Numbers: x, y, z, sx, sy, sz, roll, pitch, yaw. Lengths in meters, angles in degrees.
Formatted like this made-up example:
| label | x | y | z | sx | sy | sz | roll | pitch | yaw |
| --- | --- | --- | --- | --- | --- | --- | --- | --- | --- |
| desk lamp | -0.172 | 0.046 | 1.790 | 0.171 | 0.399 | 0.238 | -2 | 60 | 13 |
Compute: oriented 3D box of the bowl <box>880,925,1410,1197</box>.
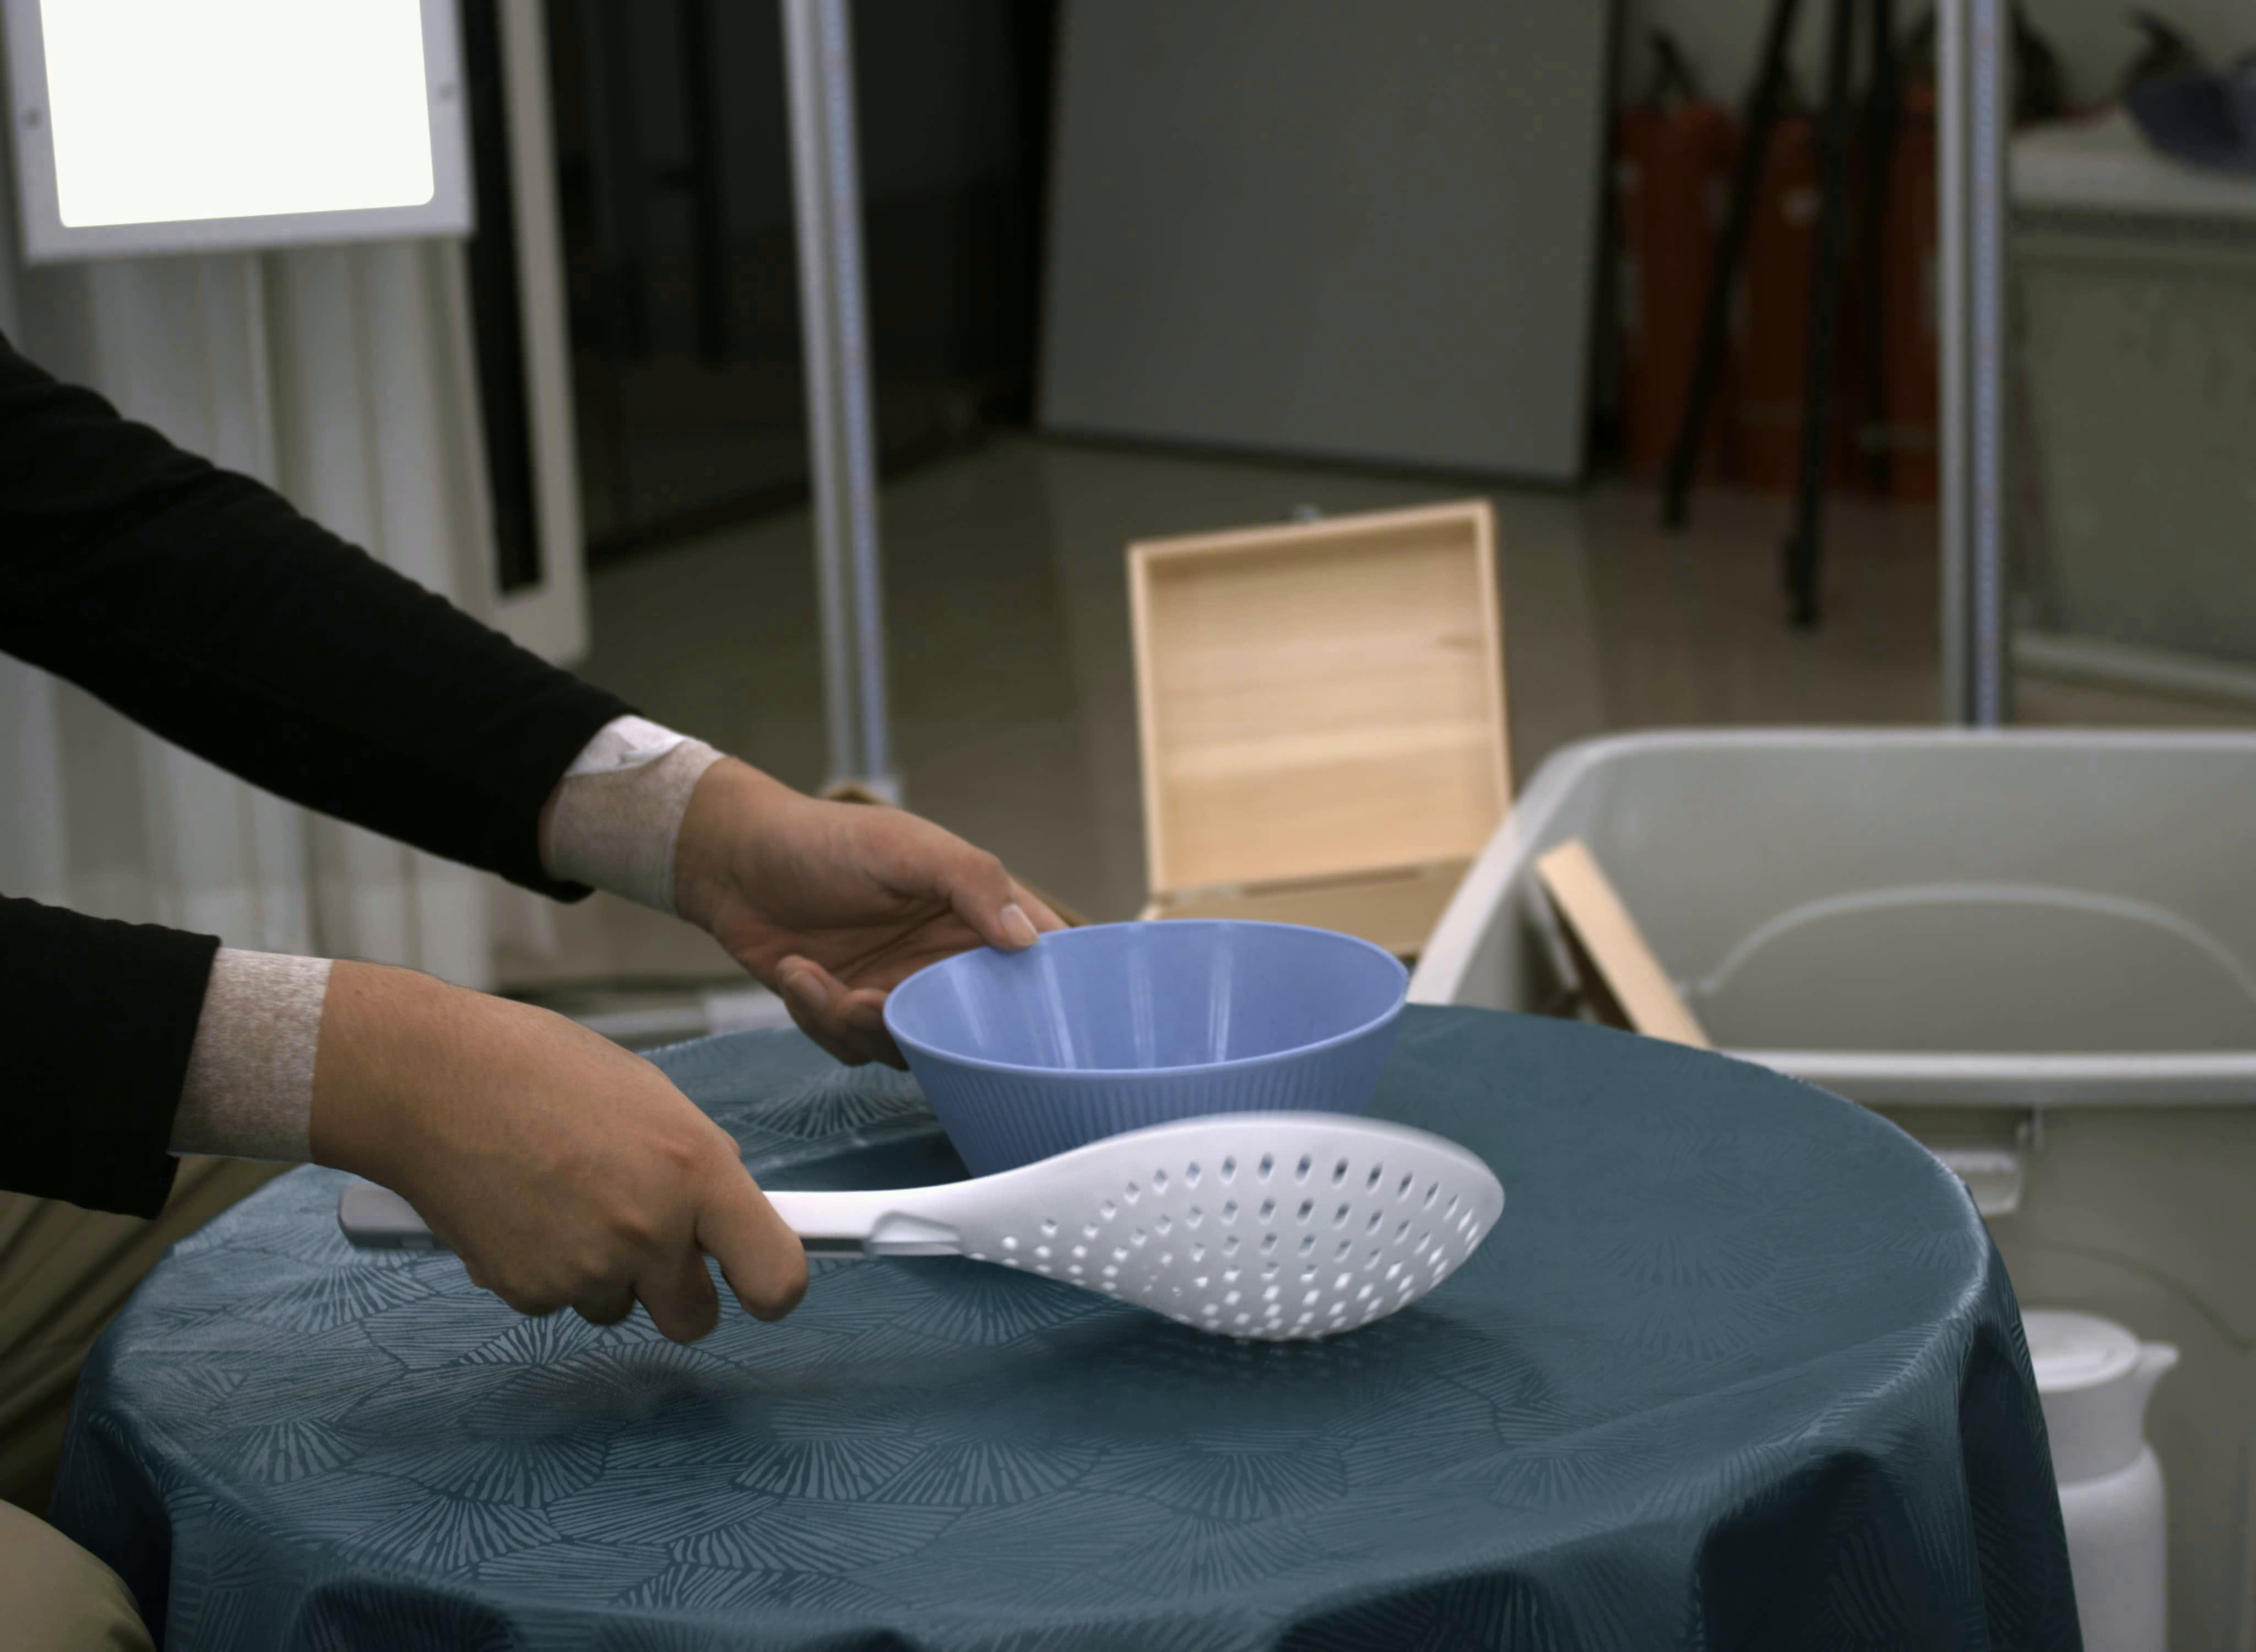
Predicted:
| label | x | y | z | sx | sy | sz | roll | pitch | yaw |
| --- | --- | --- | --- | --- | --- | --- | --- | --- | --- |
| bowl | 0.008 | 0.086 | 1.765 | 0.174 | 0.071 | 0.176 | -5 | 13 | 0 |

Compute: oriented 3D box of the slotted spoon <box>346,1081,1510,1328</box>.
| label | x | y | z | sx | sy | sz | roll | pitch | yaw |
| --- | --- | --- | --- | --- | --- | --- | --- | --- | --- |
| slotted spoon | -0.060 | 0.117 | 1.605 | 0.346 | 0.046 | 0.136 | 2 | -28 | 7 |
